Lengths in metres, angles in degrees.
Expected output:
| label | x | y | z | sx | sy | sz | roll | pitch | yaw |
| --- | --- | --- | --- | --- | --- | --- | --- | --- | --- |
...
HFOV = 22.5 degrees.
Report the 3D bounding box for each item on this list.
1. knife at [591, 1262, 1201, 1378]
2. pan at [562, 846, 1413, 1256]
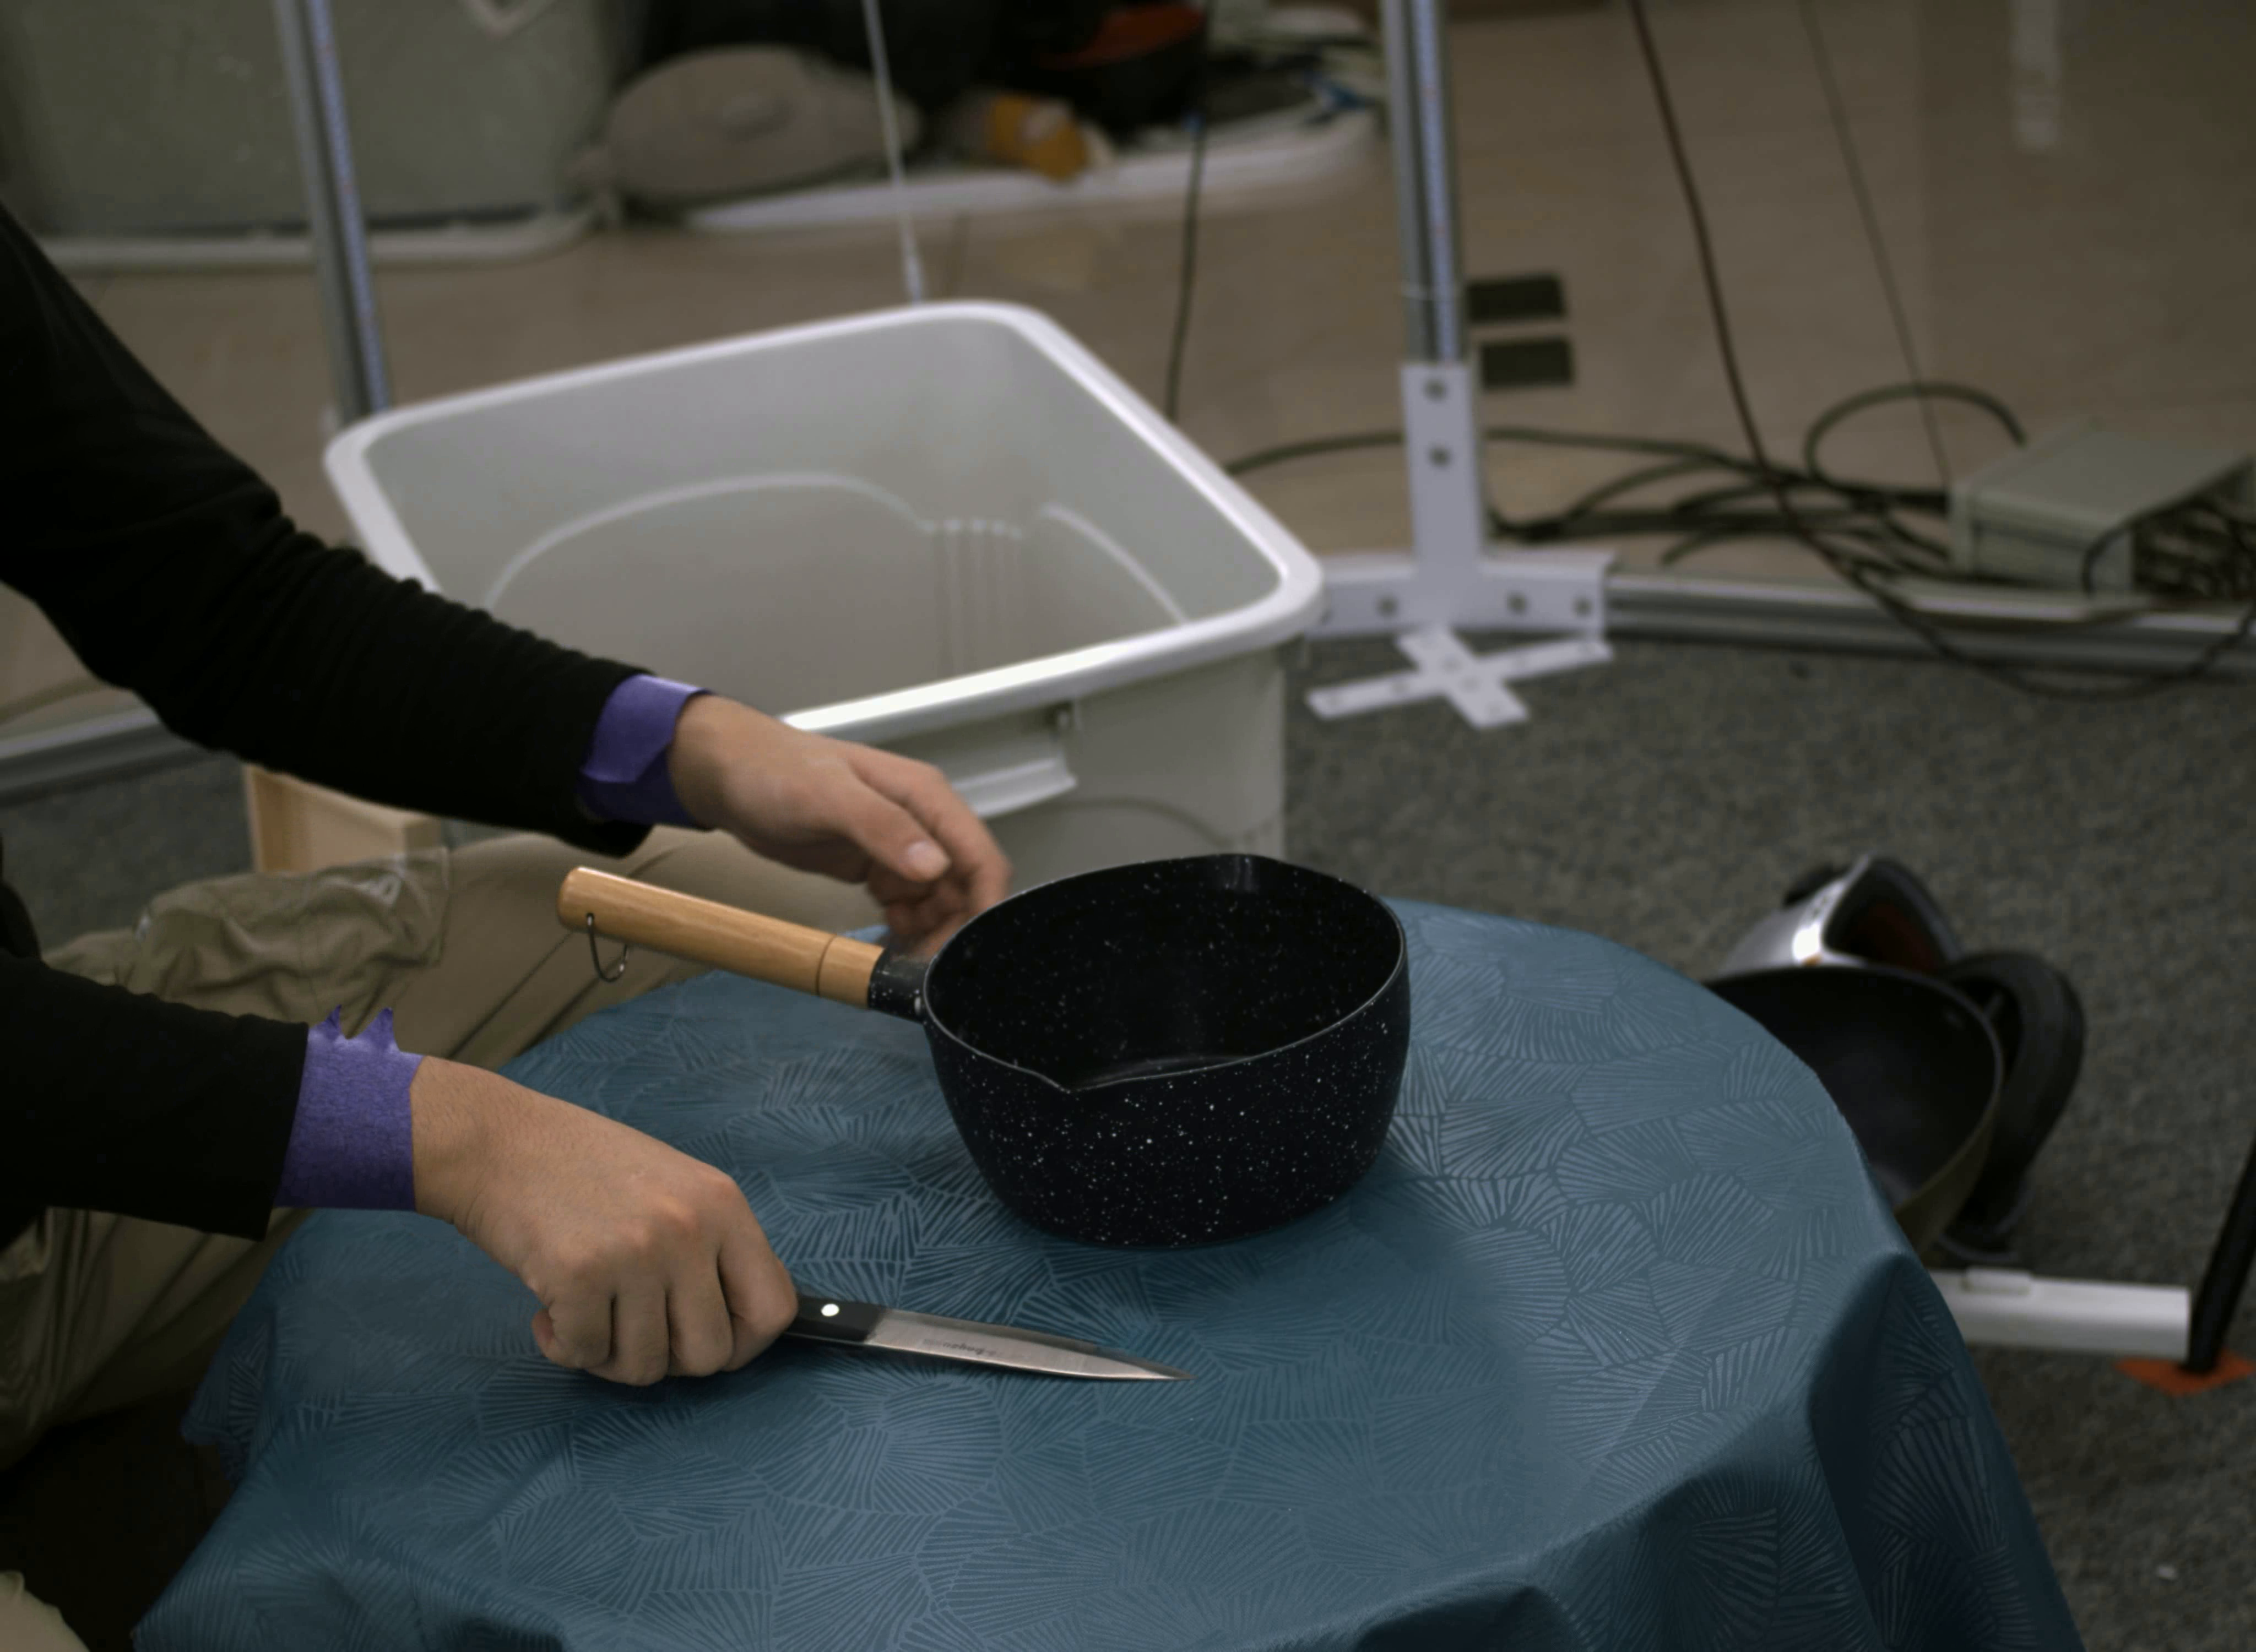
| label | x | y | z | sx | sy | sz | roll | pitch | yaw |
| --- | --- | --- | --- | --- | --- | --- | --- | --- | --- |
| knife | -0.087 | 0.183 | 2.056 | 0.237 | 0.016 | 0.024 | 7 | 36 | 17 |
| pan | -0.058 | 0.076 | 2.173 | 0.342 | 0.110 | 0.204 | 4 | 28 | 19 |
